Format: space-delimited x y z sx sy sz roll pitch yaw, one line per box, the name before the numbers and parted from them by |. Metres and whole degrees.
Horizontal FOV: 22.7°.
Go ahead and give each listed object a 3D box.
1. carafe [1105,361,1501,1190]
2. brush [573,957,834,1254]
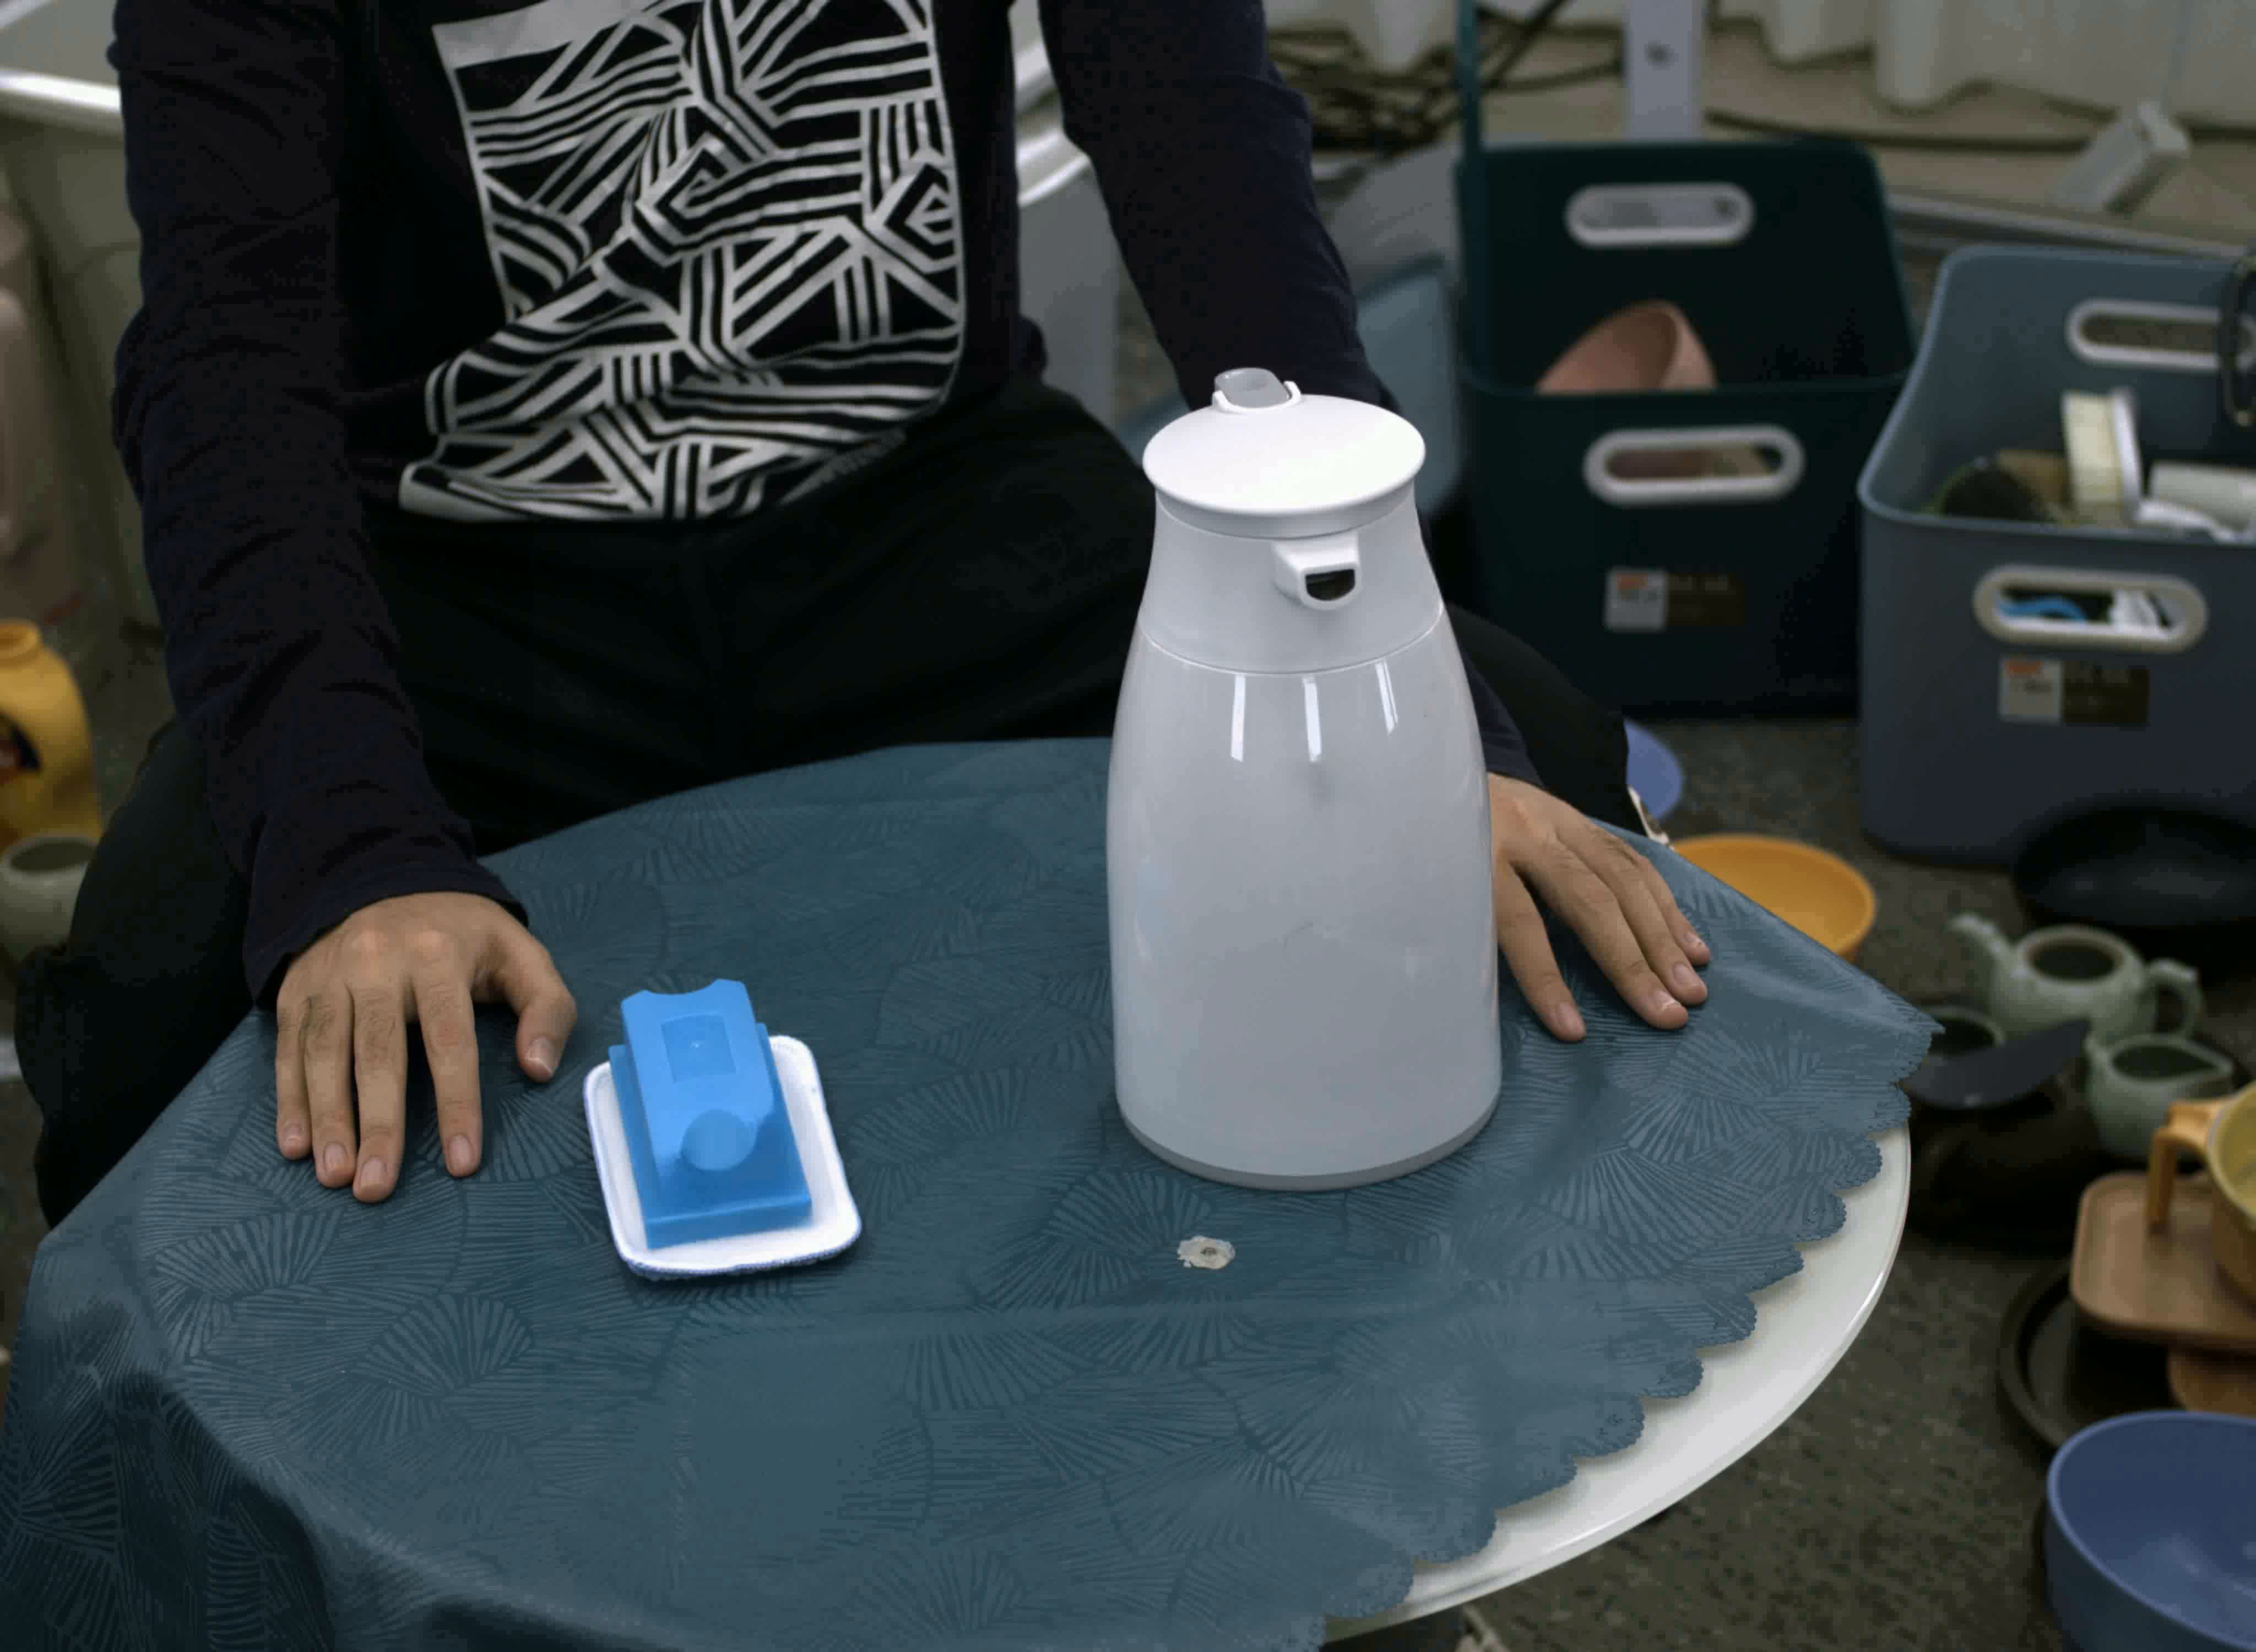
carafe | 0.050 -0.027 1.875 0.132 0.246 0.169 -9 26 -12
brush | -0.141 0.089 1.871 0.083 0.055 0.146 -4 29 -8
